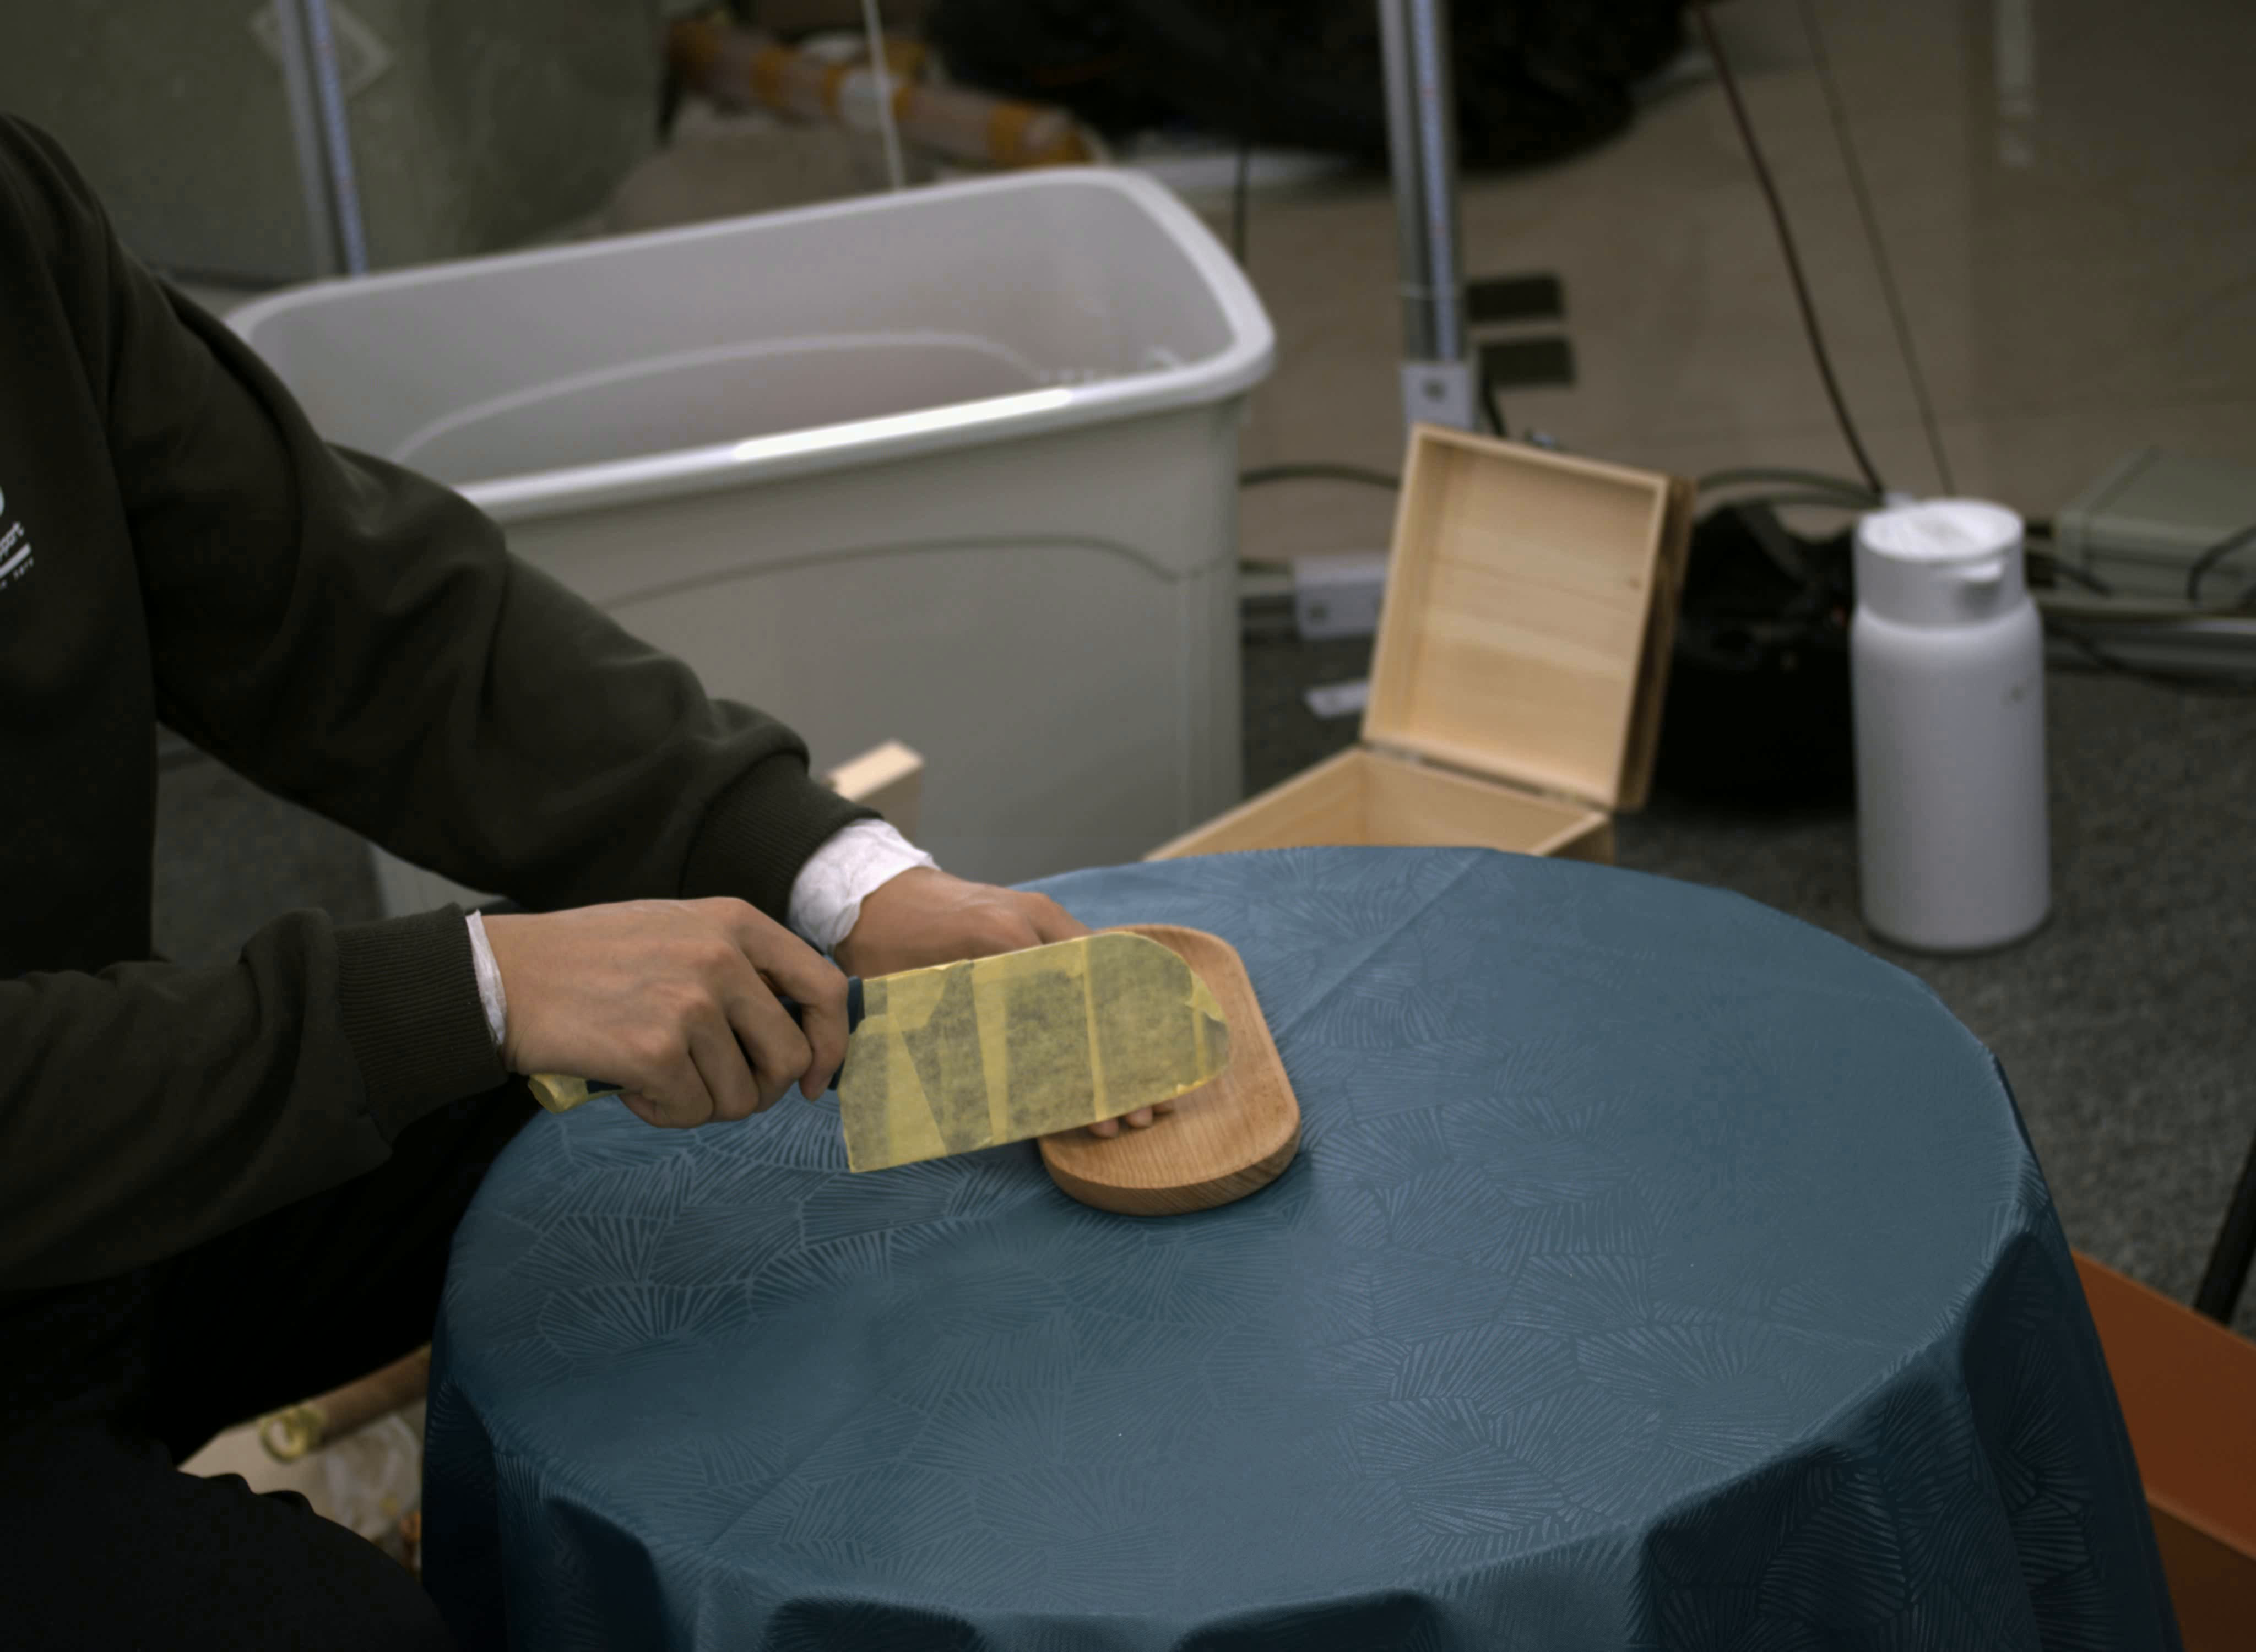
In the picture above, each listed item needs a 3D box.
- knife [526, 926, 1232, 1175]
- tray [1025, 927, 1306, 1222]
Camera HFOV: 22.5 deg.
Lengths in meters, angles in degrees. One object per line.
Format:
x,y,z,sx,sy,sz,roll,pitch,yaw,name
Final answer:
-0.089,0.089,2.128,0.289,0.081,0.027,-7,8,-25,knife
0.009,0.096,2.225,0.101,0.020,0.228,-11,27,-4,tray
